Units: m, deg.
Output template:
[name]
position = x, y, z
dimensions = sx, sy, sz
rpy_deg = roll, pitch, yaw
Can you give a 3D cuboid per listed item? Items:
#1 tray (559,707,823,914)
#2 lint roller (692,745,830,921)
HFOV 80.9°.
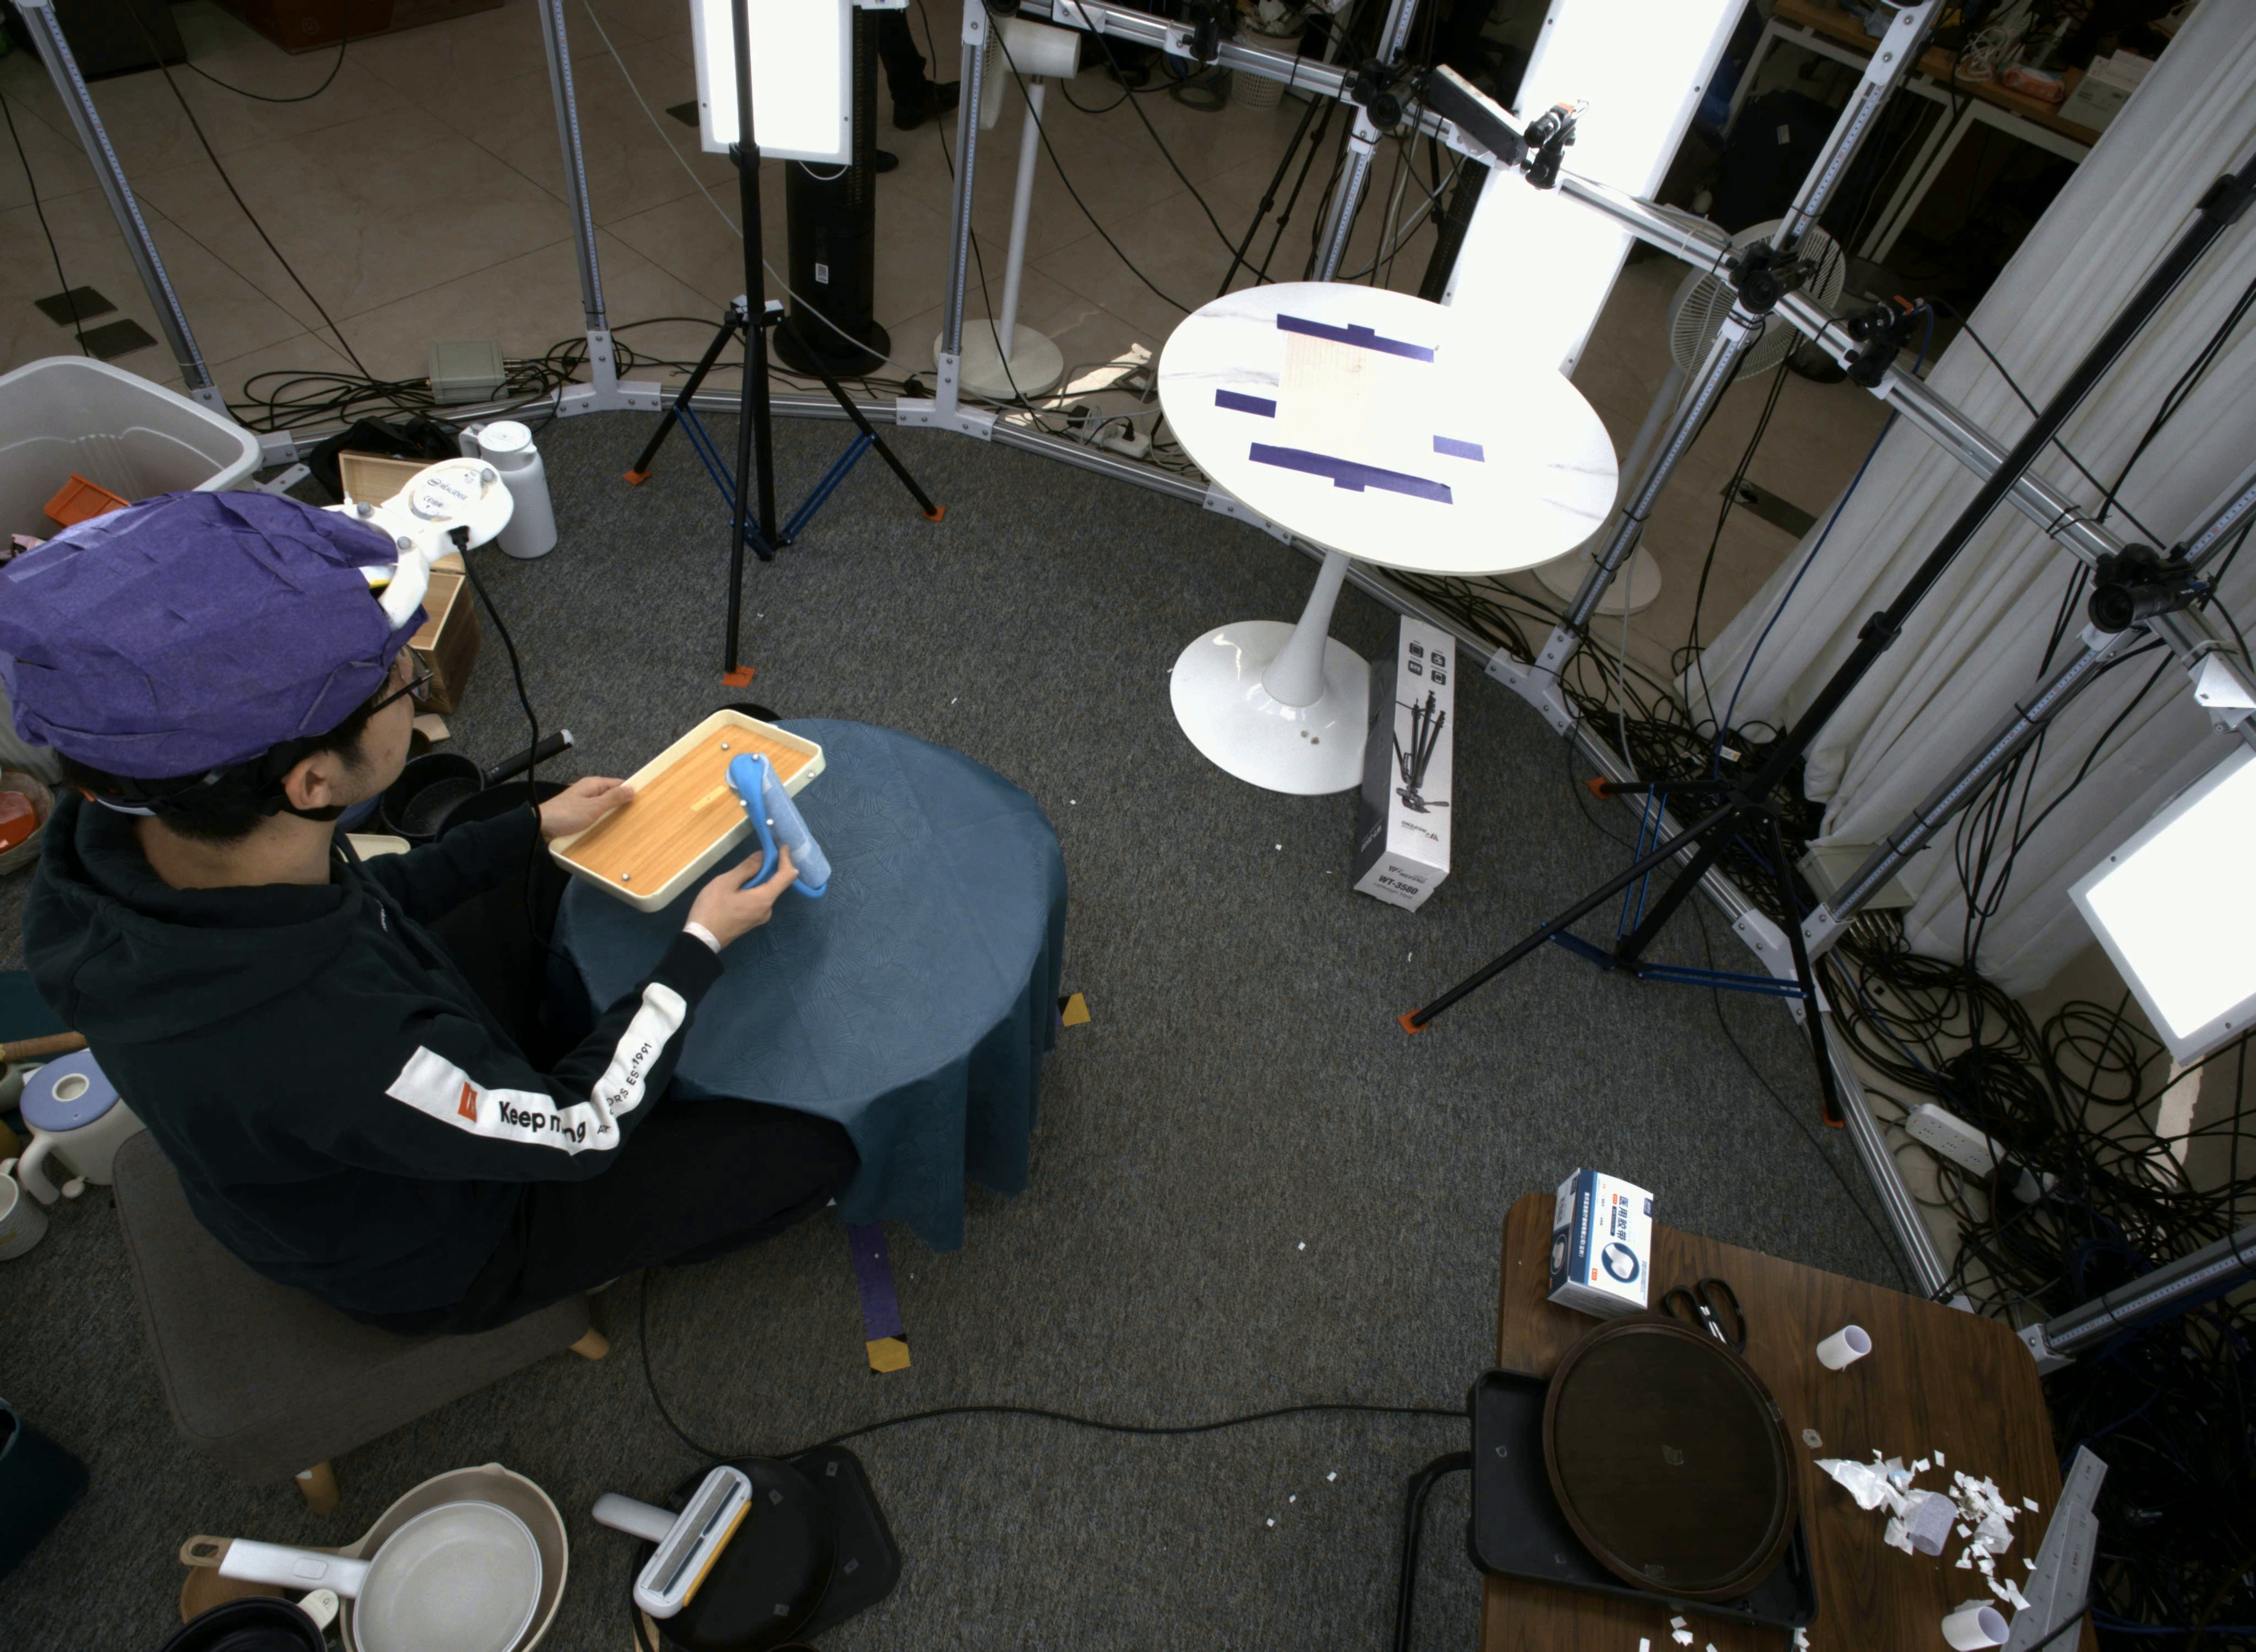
[tray]
position = -0.529, -0.028, 1.550
dimensions = 0.185, 0.028, 0.300
rpy_deg = 22, 51, 26
[lint roller]
position = -0.430, 0.038, 1.491
dimensions = 0.066, 0.237, 0.179
rpy_deg = 11, 58, 20
